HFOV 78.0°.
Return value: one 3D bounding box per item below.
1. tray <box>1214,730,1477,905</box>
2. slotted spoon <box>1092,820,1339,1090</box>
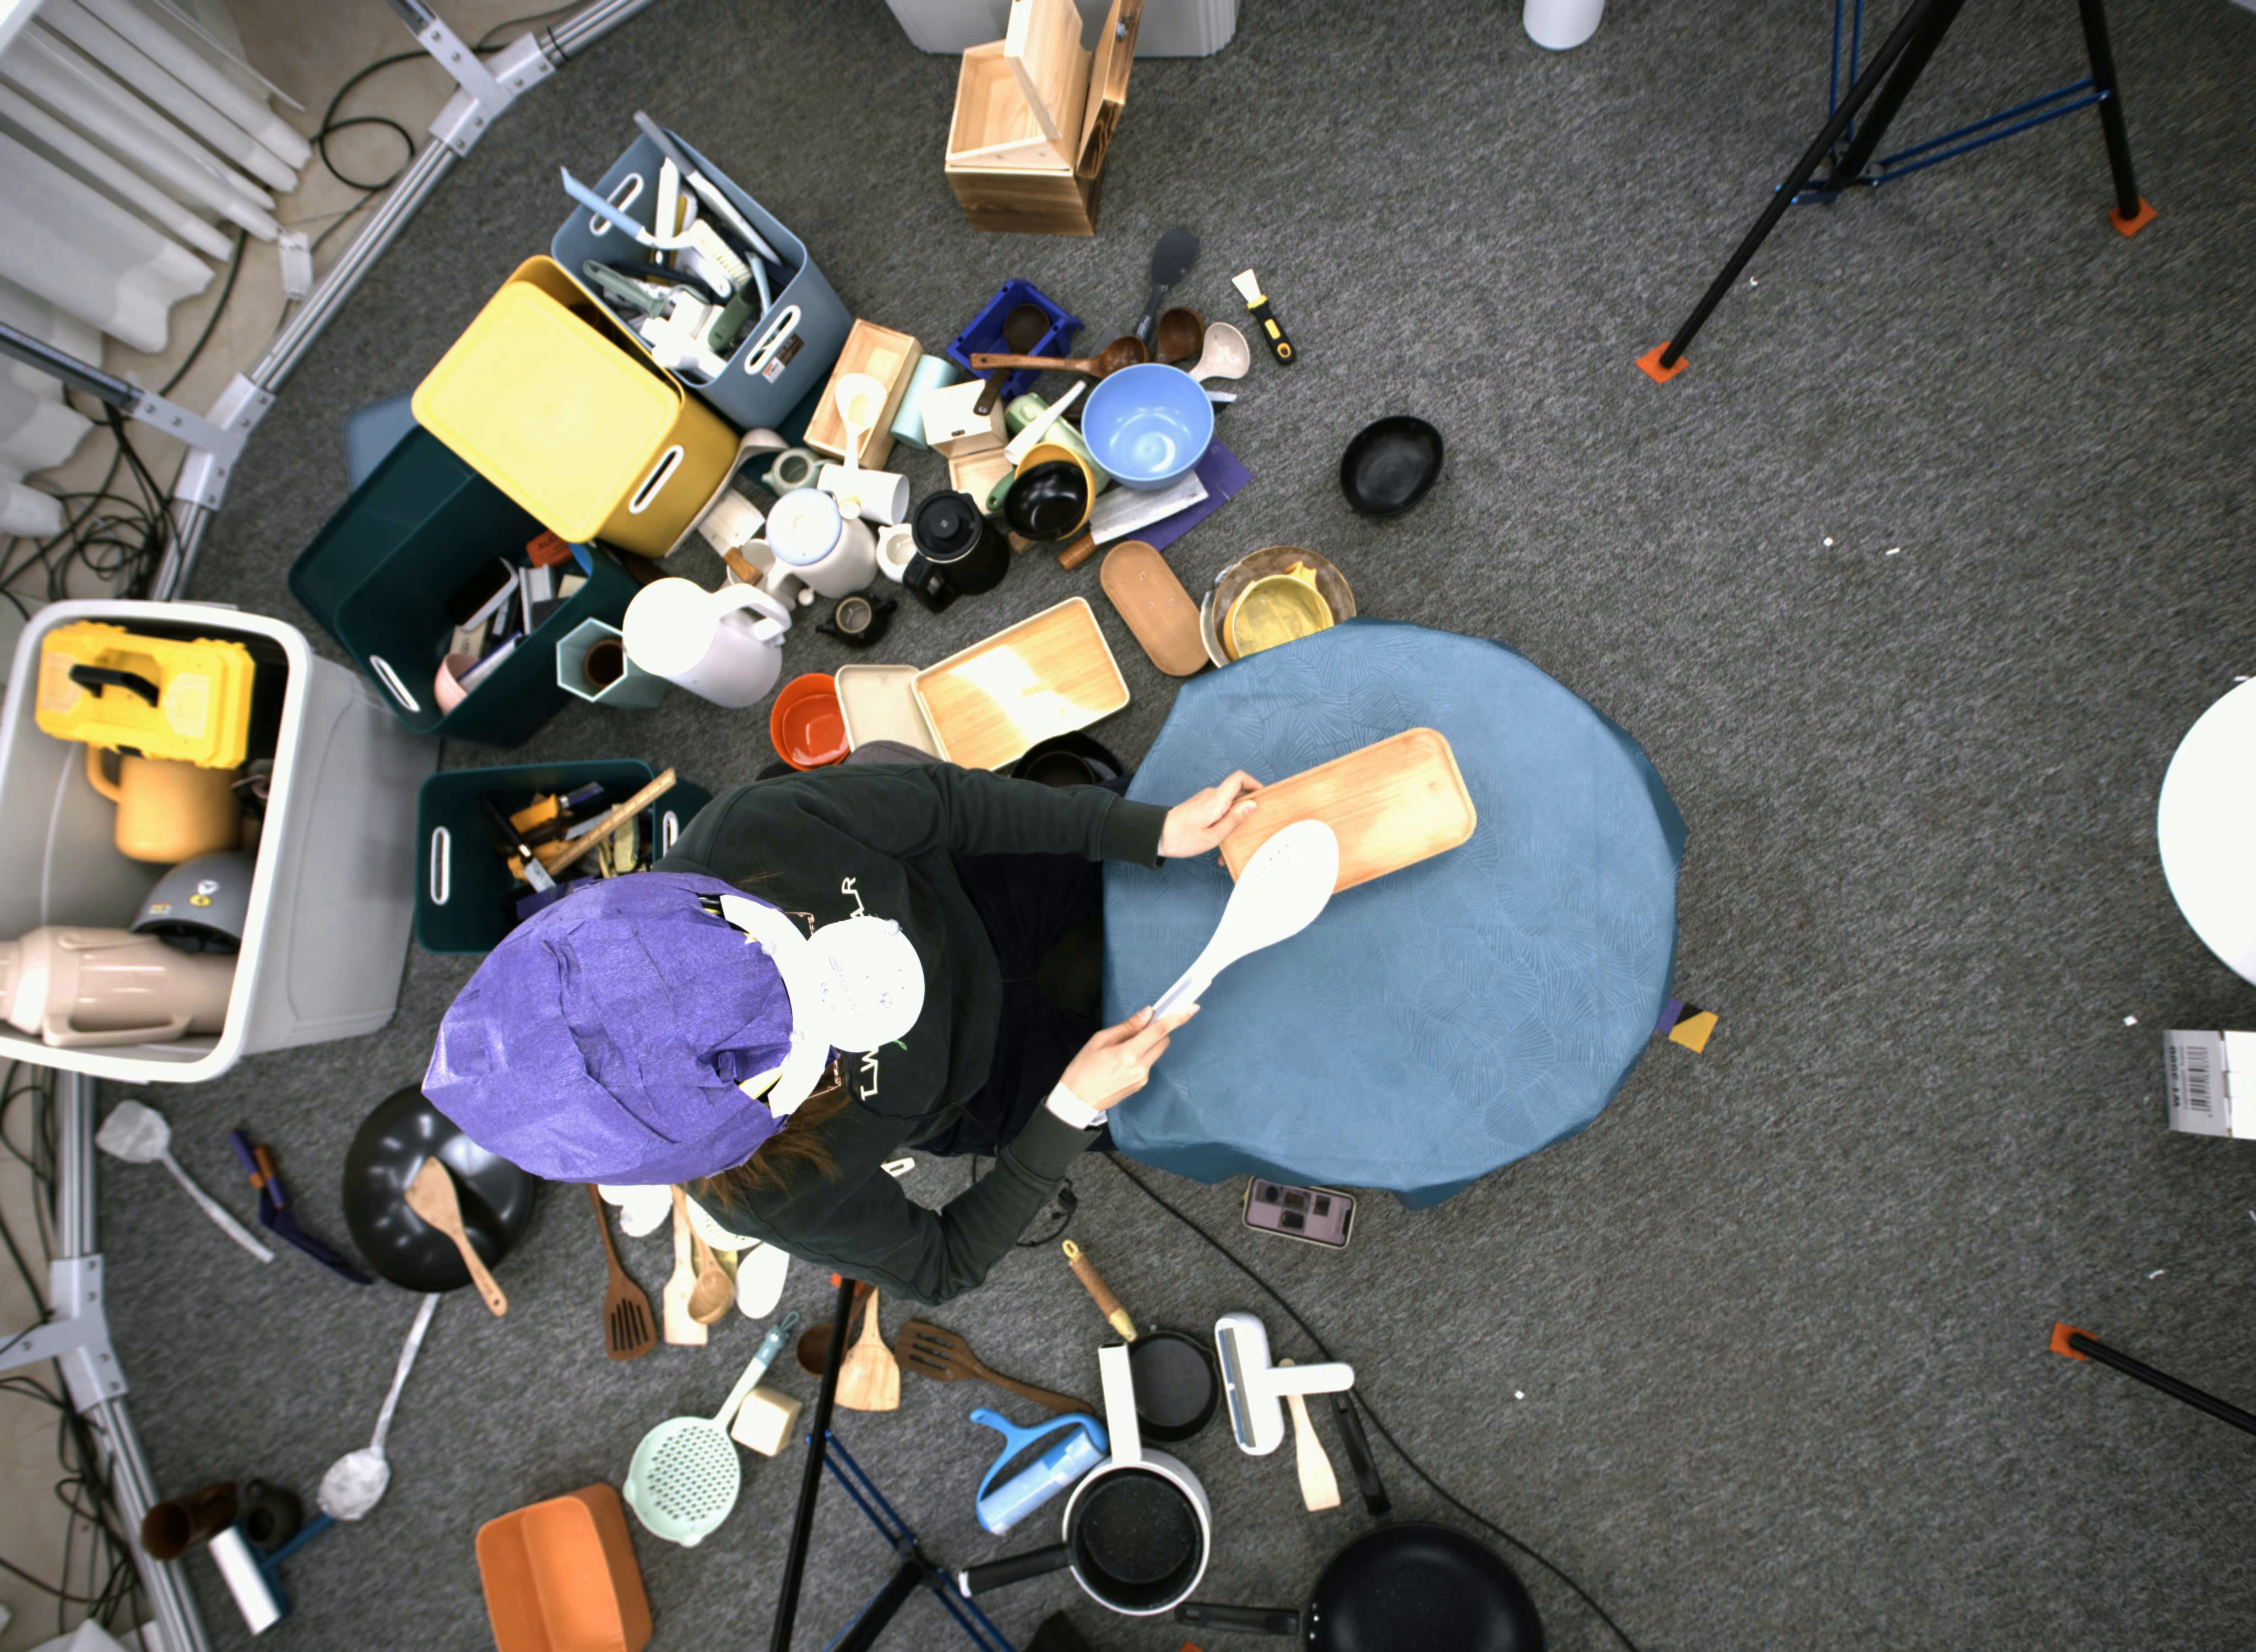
[{"bbox_3d":[0.218,-0.001,1.393,0.253,0.022,0.131,-21,97,13],"label":"tray"},{"bbox_3d":[0.084,0.133,1.368,0.353,0.133,0.046,-44,117,11],"label":"slotted spoon"}]
